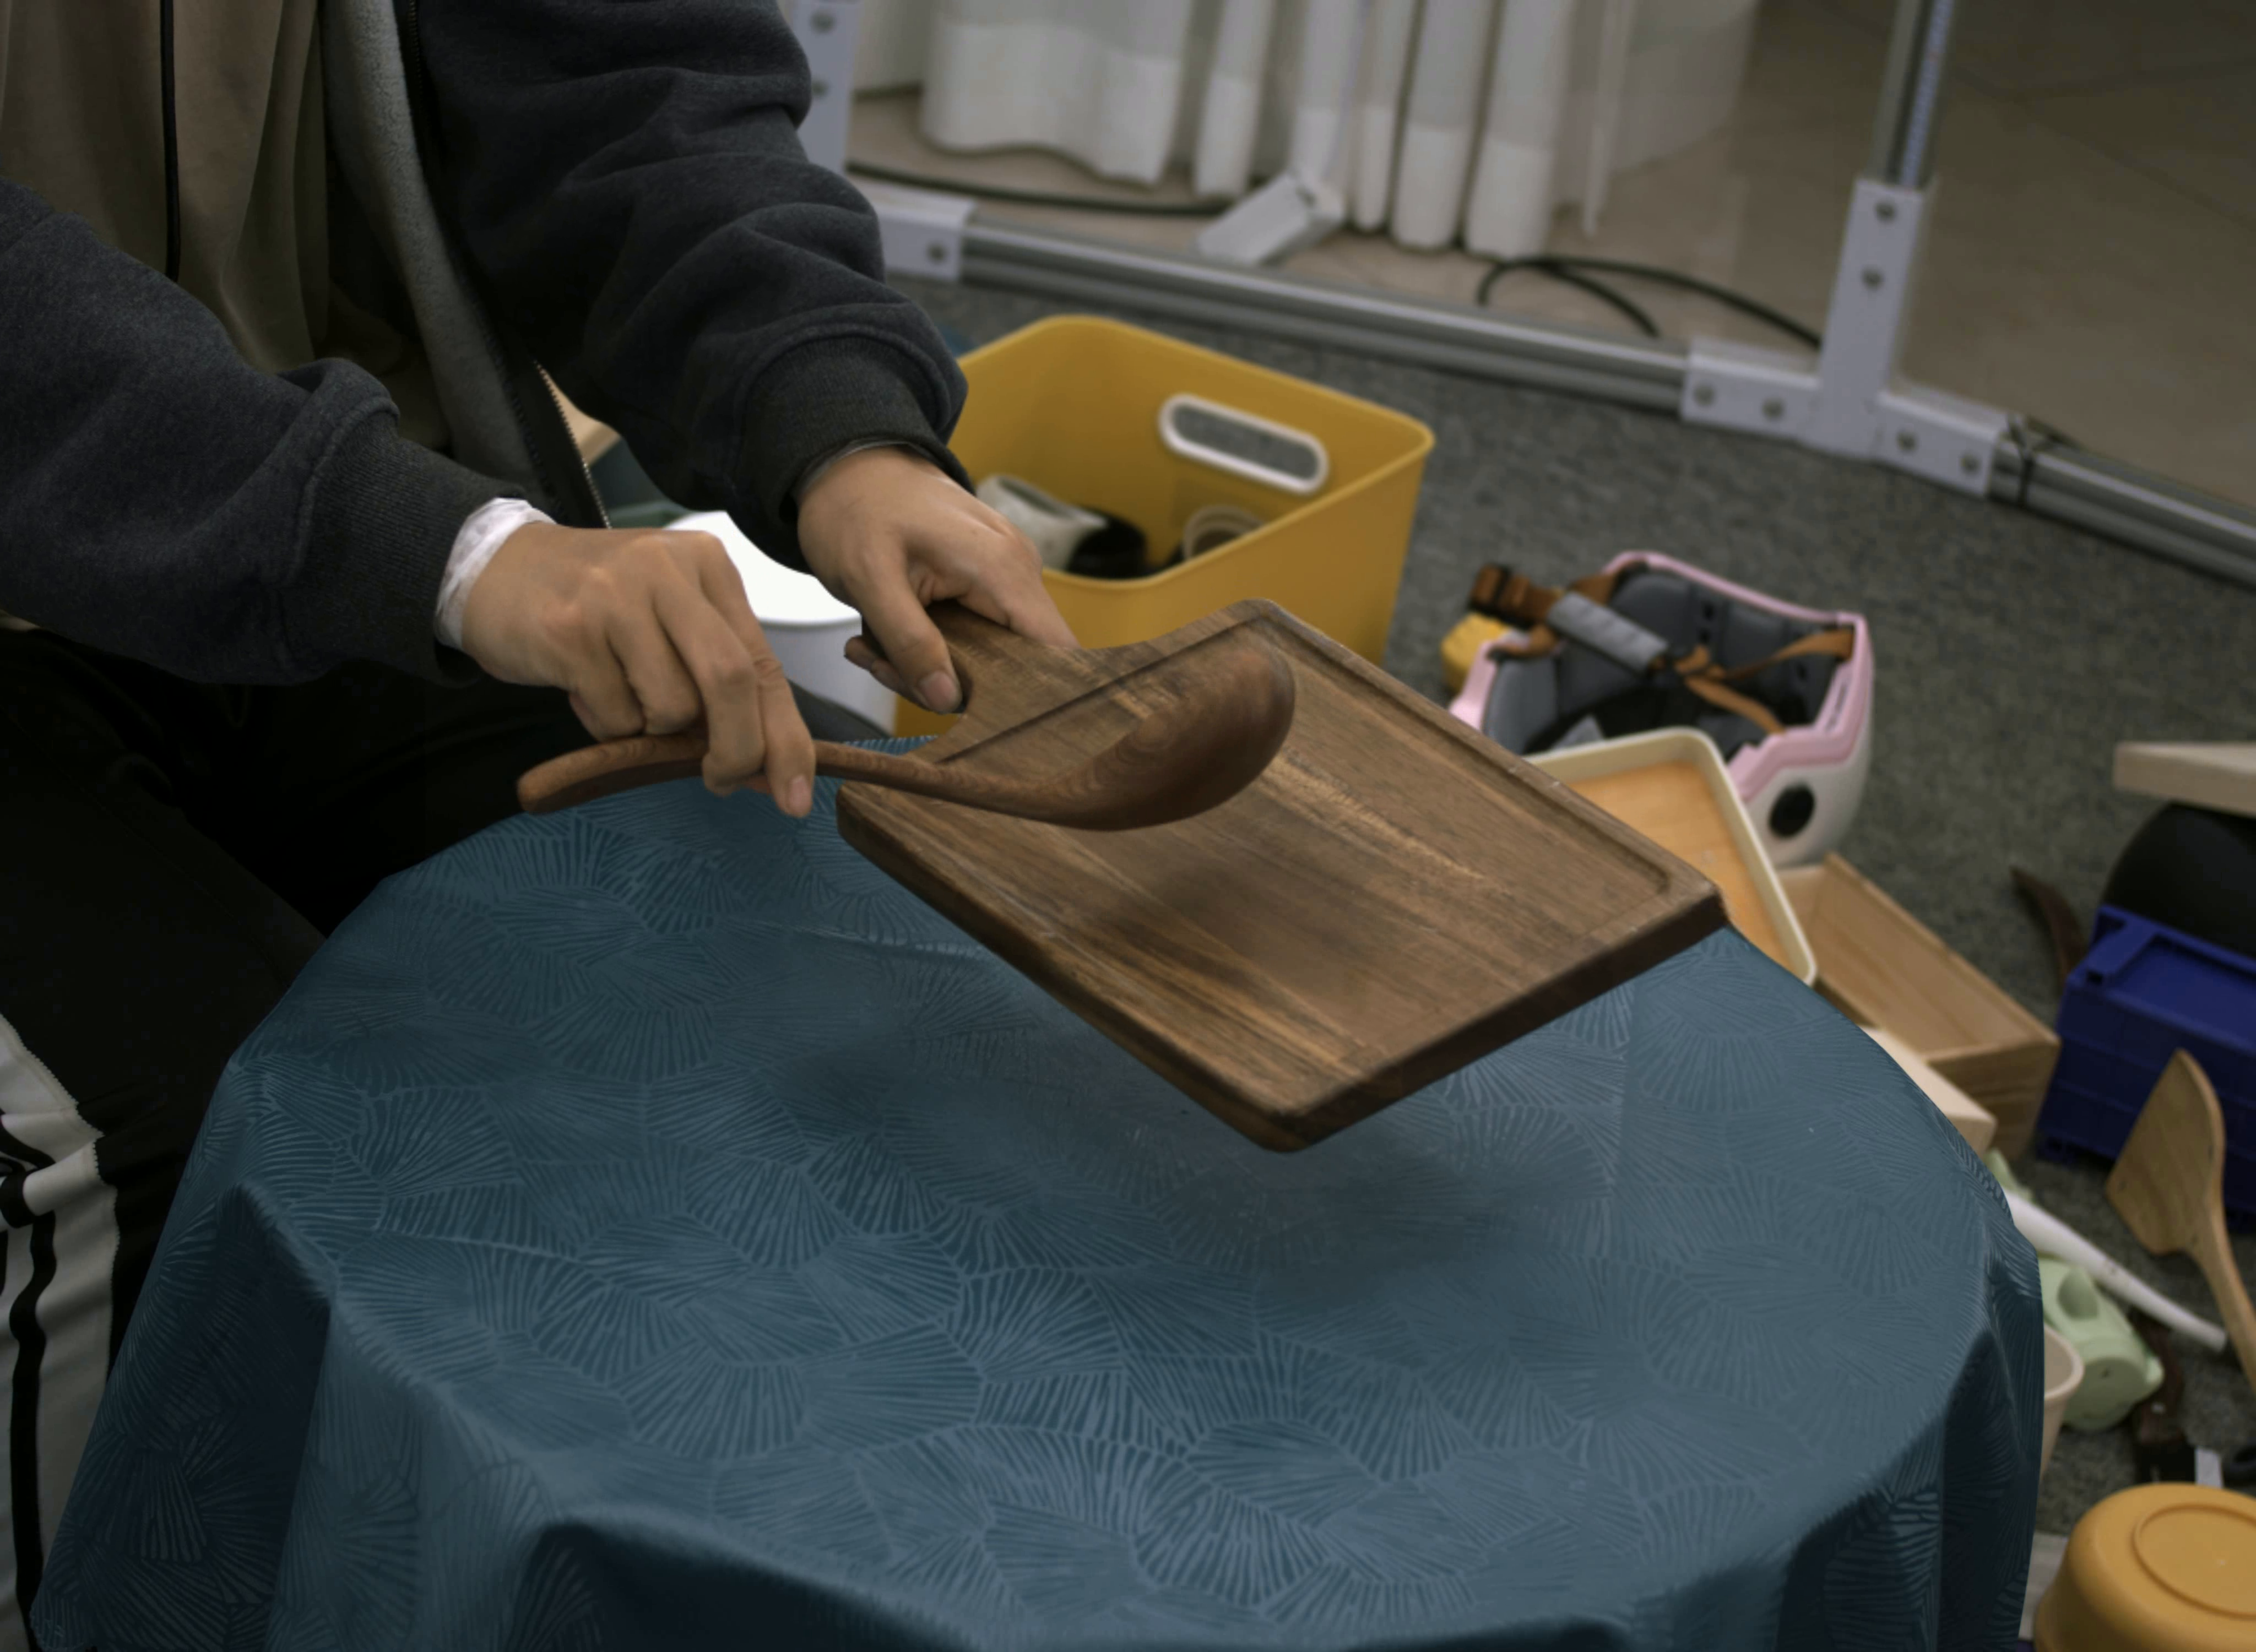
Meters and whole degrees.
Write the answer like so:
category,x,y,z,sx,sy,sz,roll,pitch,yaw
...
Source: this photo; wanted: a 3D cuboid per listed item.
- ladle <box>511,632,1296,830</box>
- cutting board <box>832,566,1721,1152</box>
category,x,y,z,sx,sy,sz,roll,pitch,yaw
ladle,-0.074,-0.032,1.771,0.259,0.076,0.065,1,67,2
cutting board,0.018,-0.011,1.846,0.200,0.023,0.355,-25,40,-30
